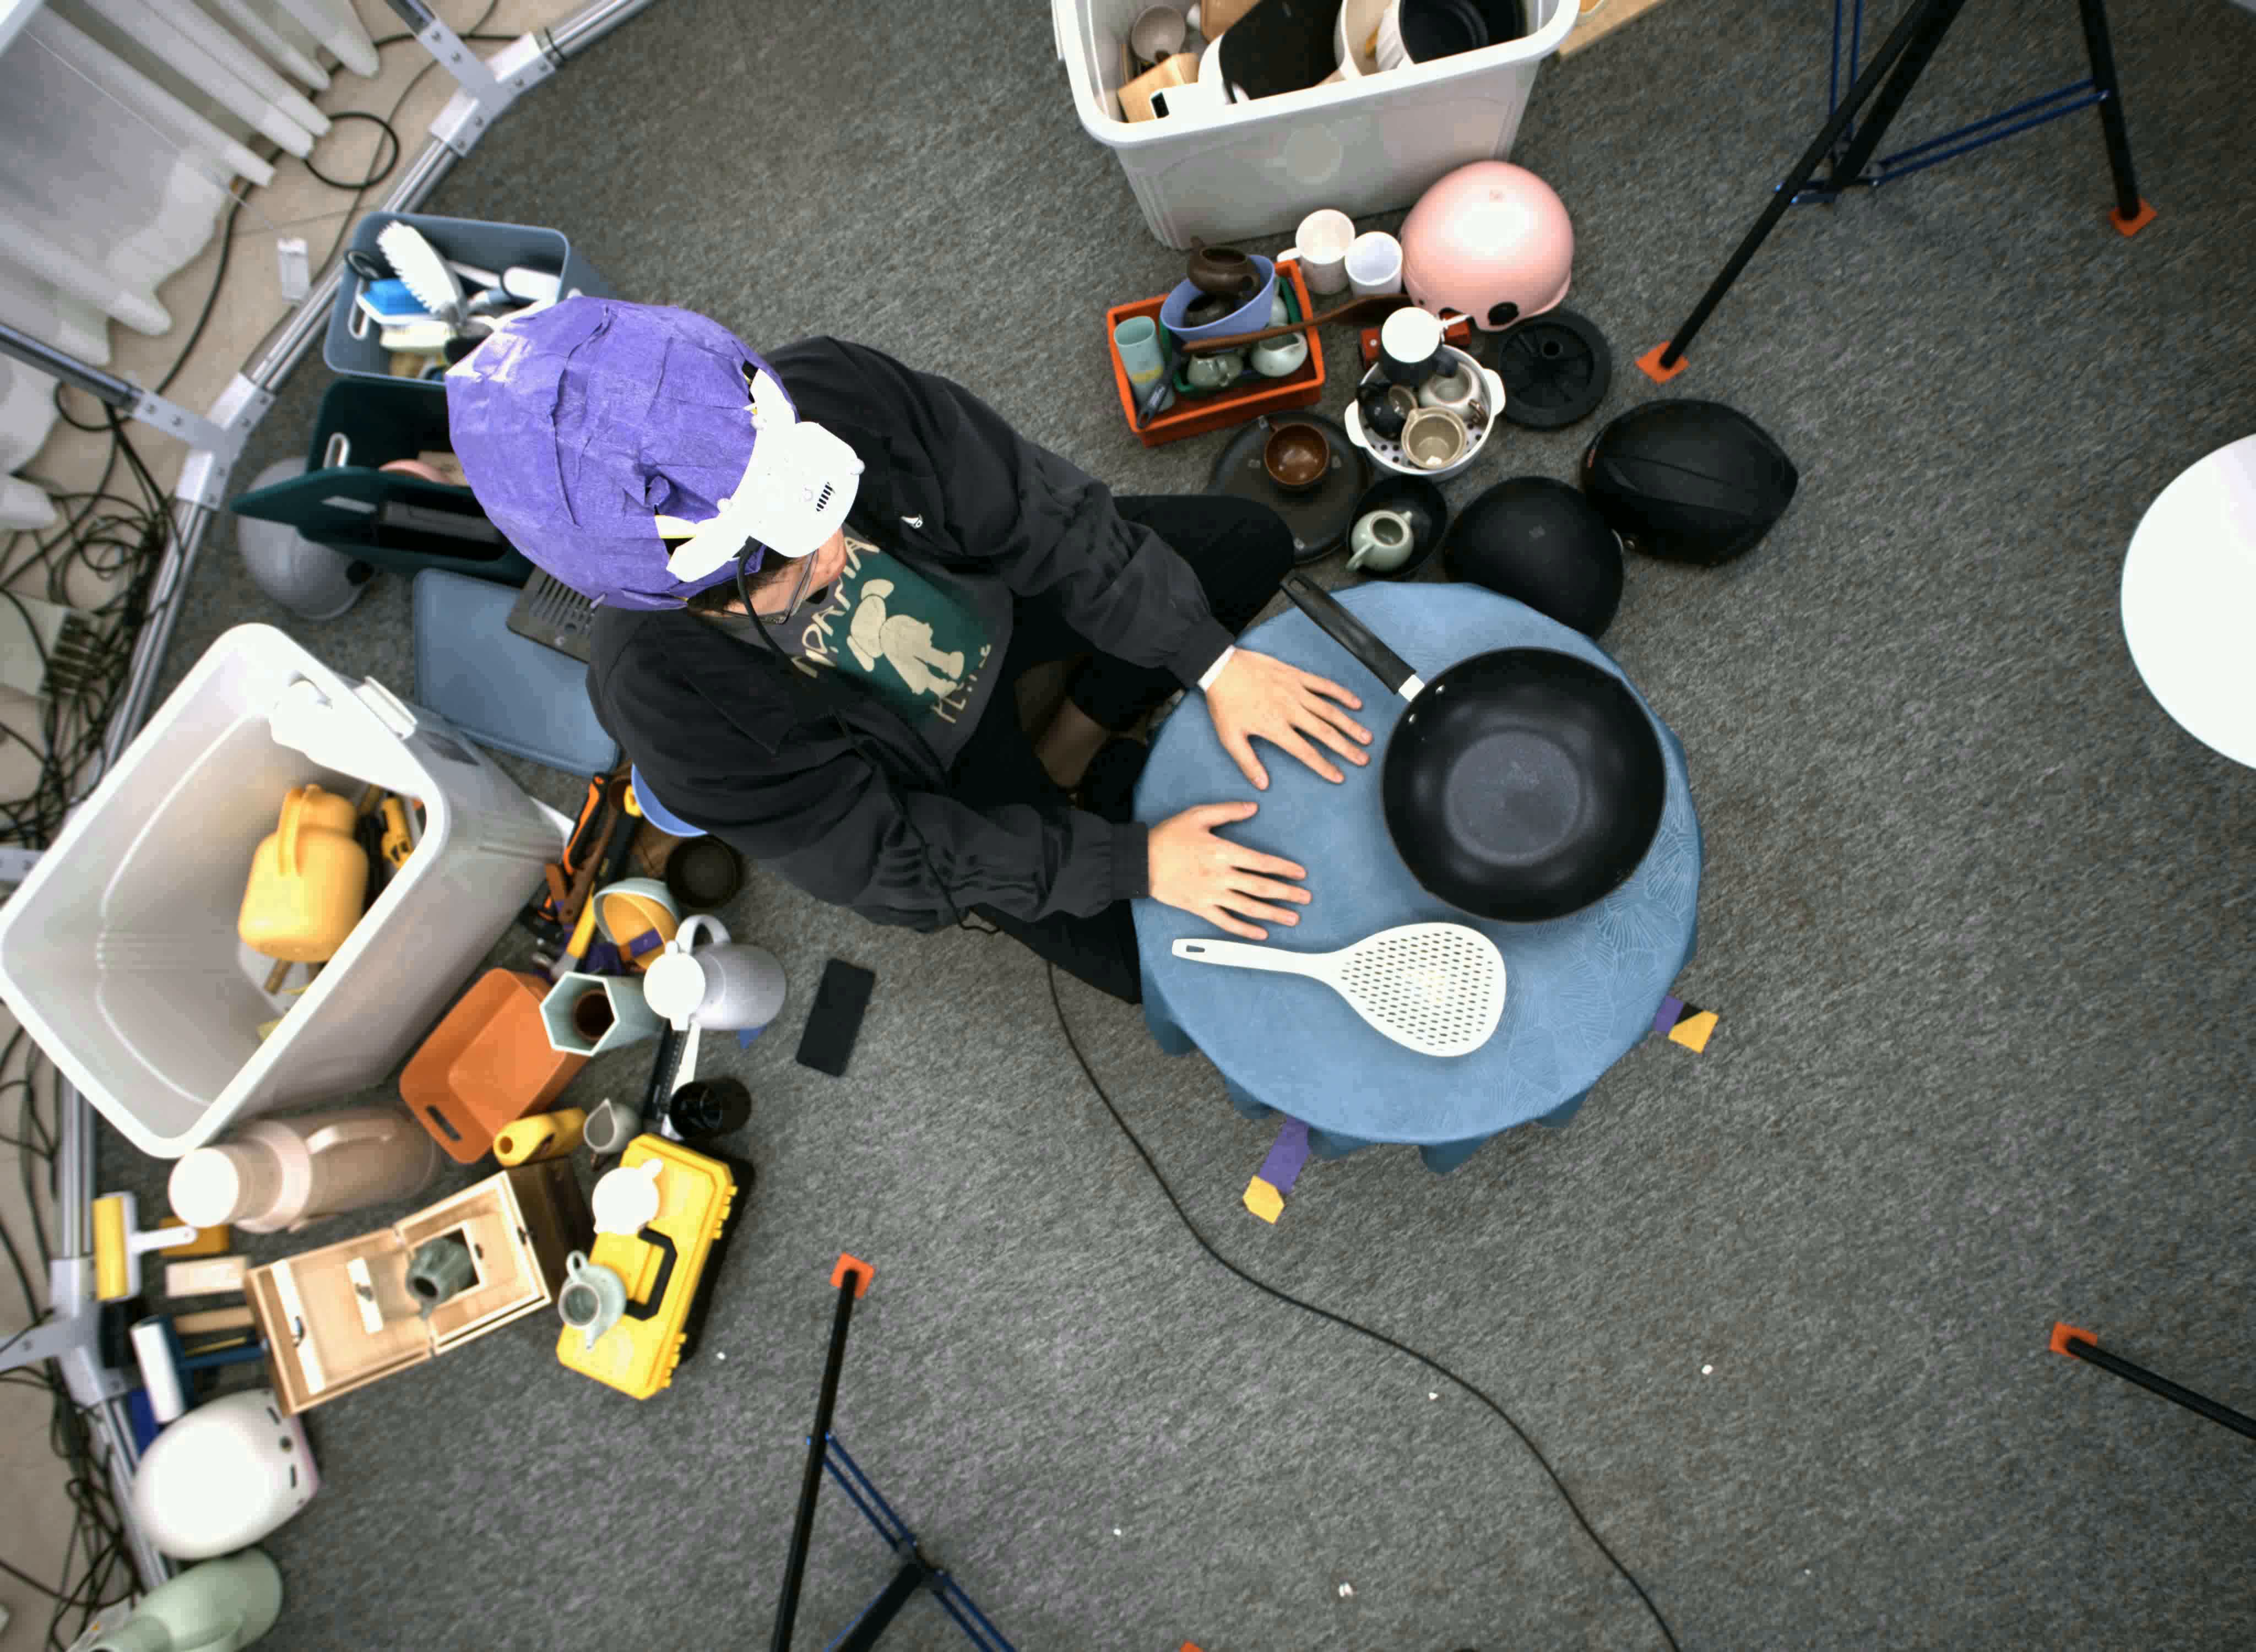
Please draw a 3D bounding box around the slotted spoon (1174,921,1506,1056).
[{"bbox_3d":[0.215,0.149,1.444,0.349,0.050,0.136,9,90,11],"label":"slotted spoon"}]

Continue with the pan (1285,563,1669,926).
[{"bbox_3d":[0.333,-0.100,1.414,0.461,0.087,0.289,44,95,11],"label":"pan"}]
